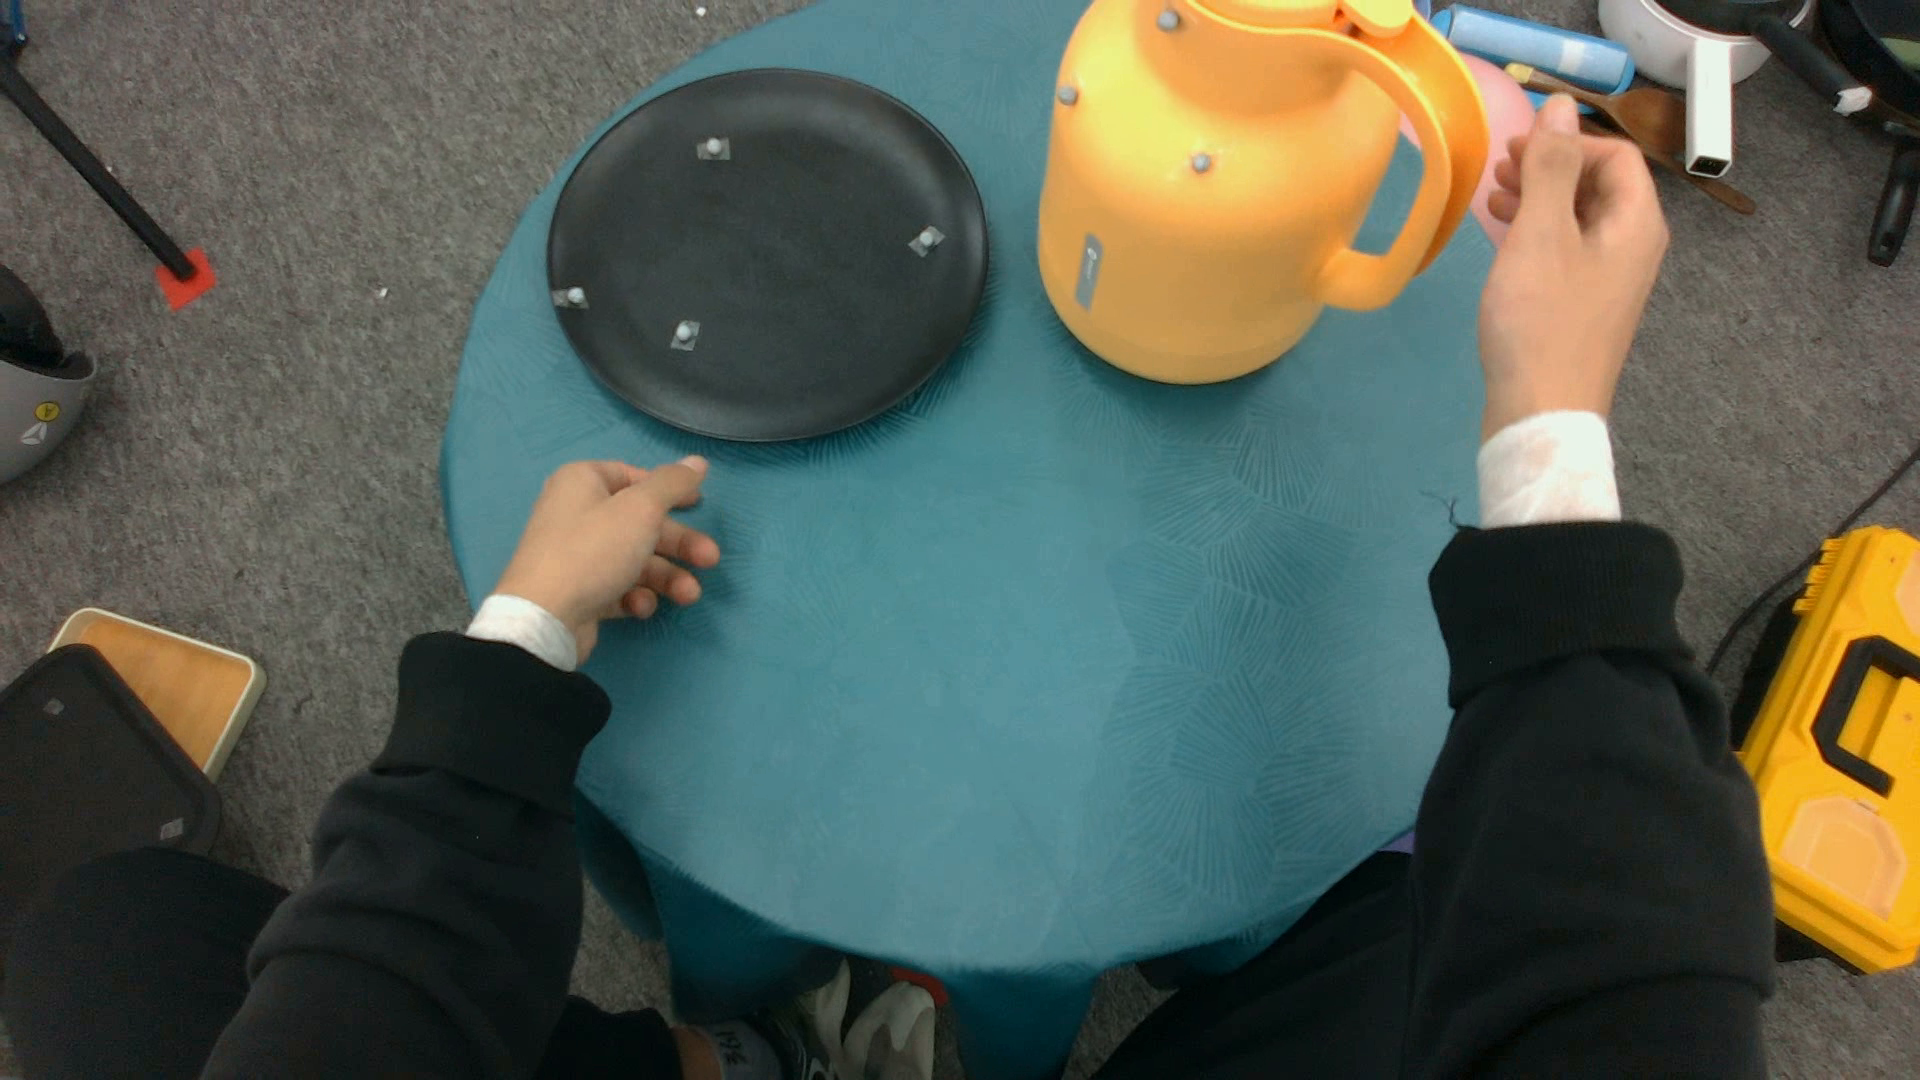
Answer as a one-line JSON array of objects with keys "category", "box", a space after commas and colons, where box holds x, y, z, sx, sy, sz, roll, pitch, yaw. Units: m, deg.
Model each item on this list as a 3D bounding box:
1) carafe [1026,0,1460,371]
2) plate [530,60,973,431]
[{"category": "carafe", "box": [0.128, -0.190, 0.659, 0.164, 0.259, 0.202, -40, 72, -14]}, {"category": "plate", "box": [-0.115, -0.166, 0.769, 0.244, 0.023, 0.245, 1, 67, -1]}]
